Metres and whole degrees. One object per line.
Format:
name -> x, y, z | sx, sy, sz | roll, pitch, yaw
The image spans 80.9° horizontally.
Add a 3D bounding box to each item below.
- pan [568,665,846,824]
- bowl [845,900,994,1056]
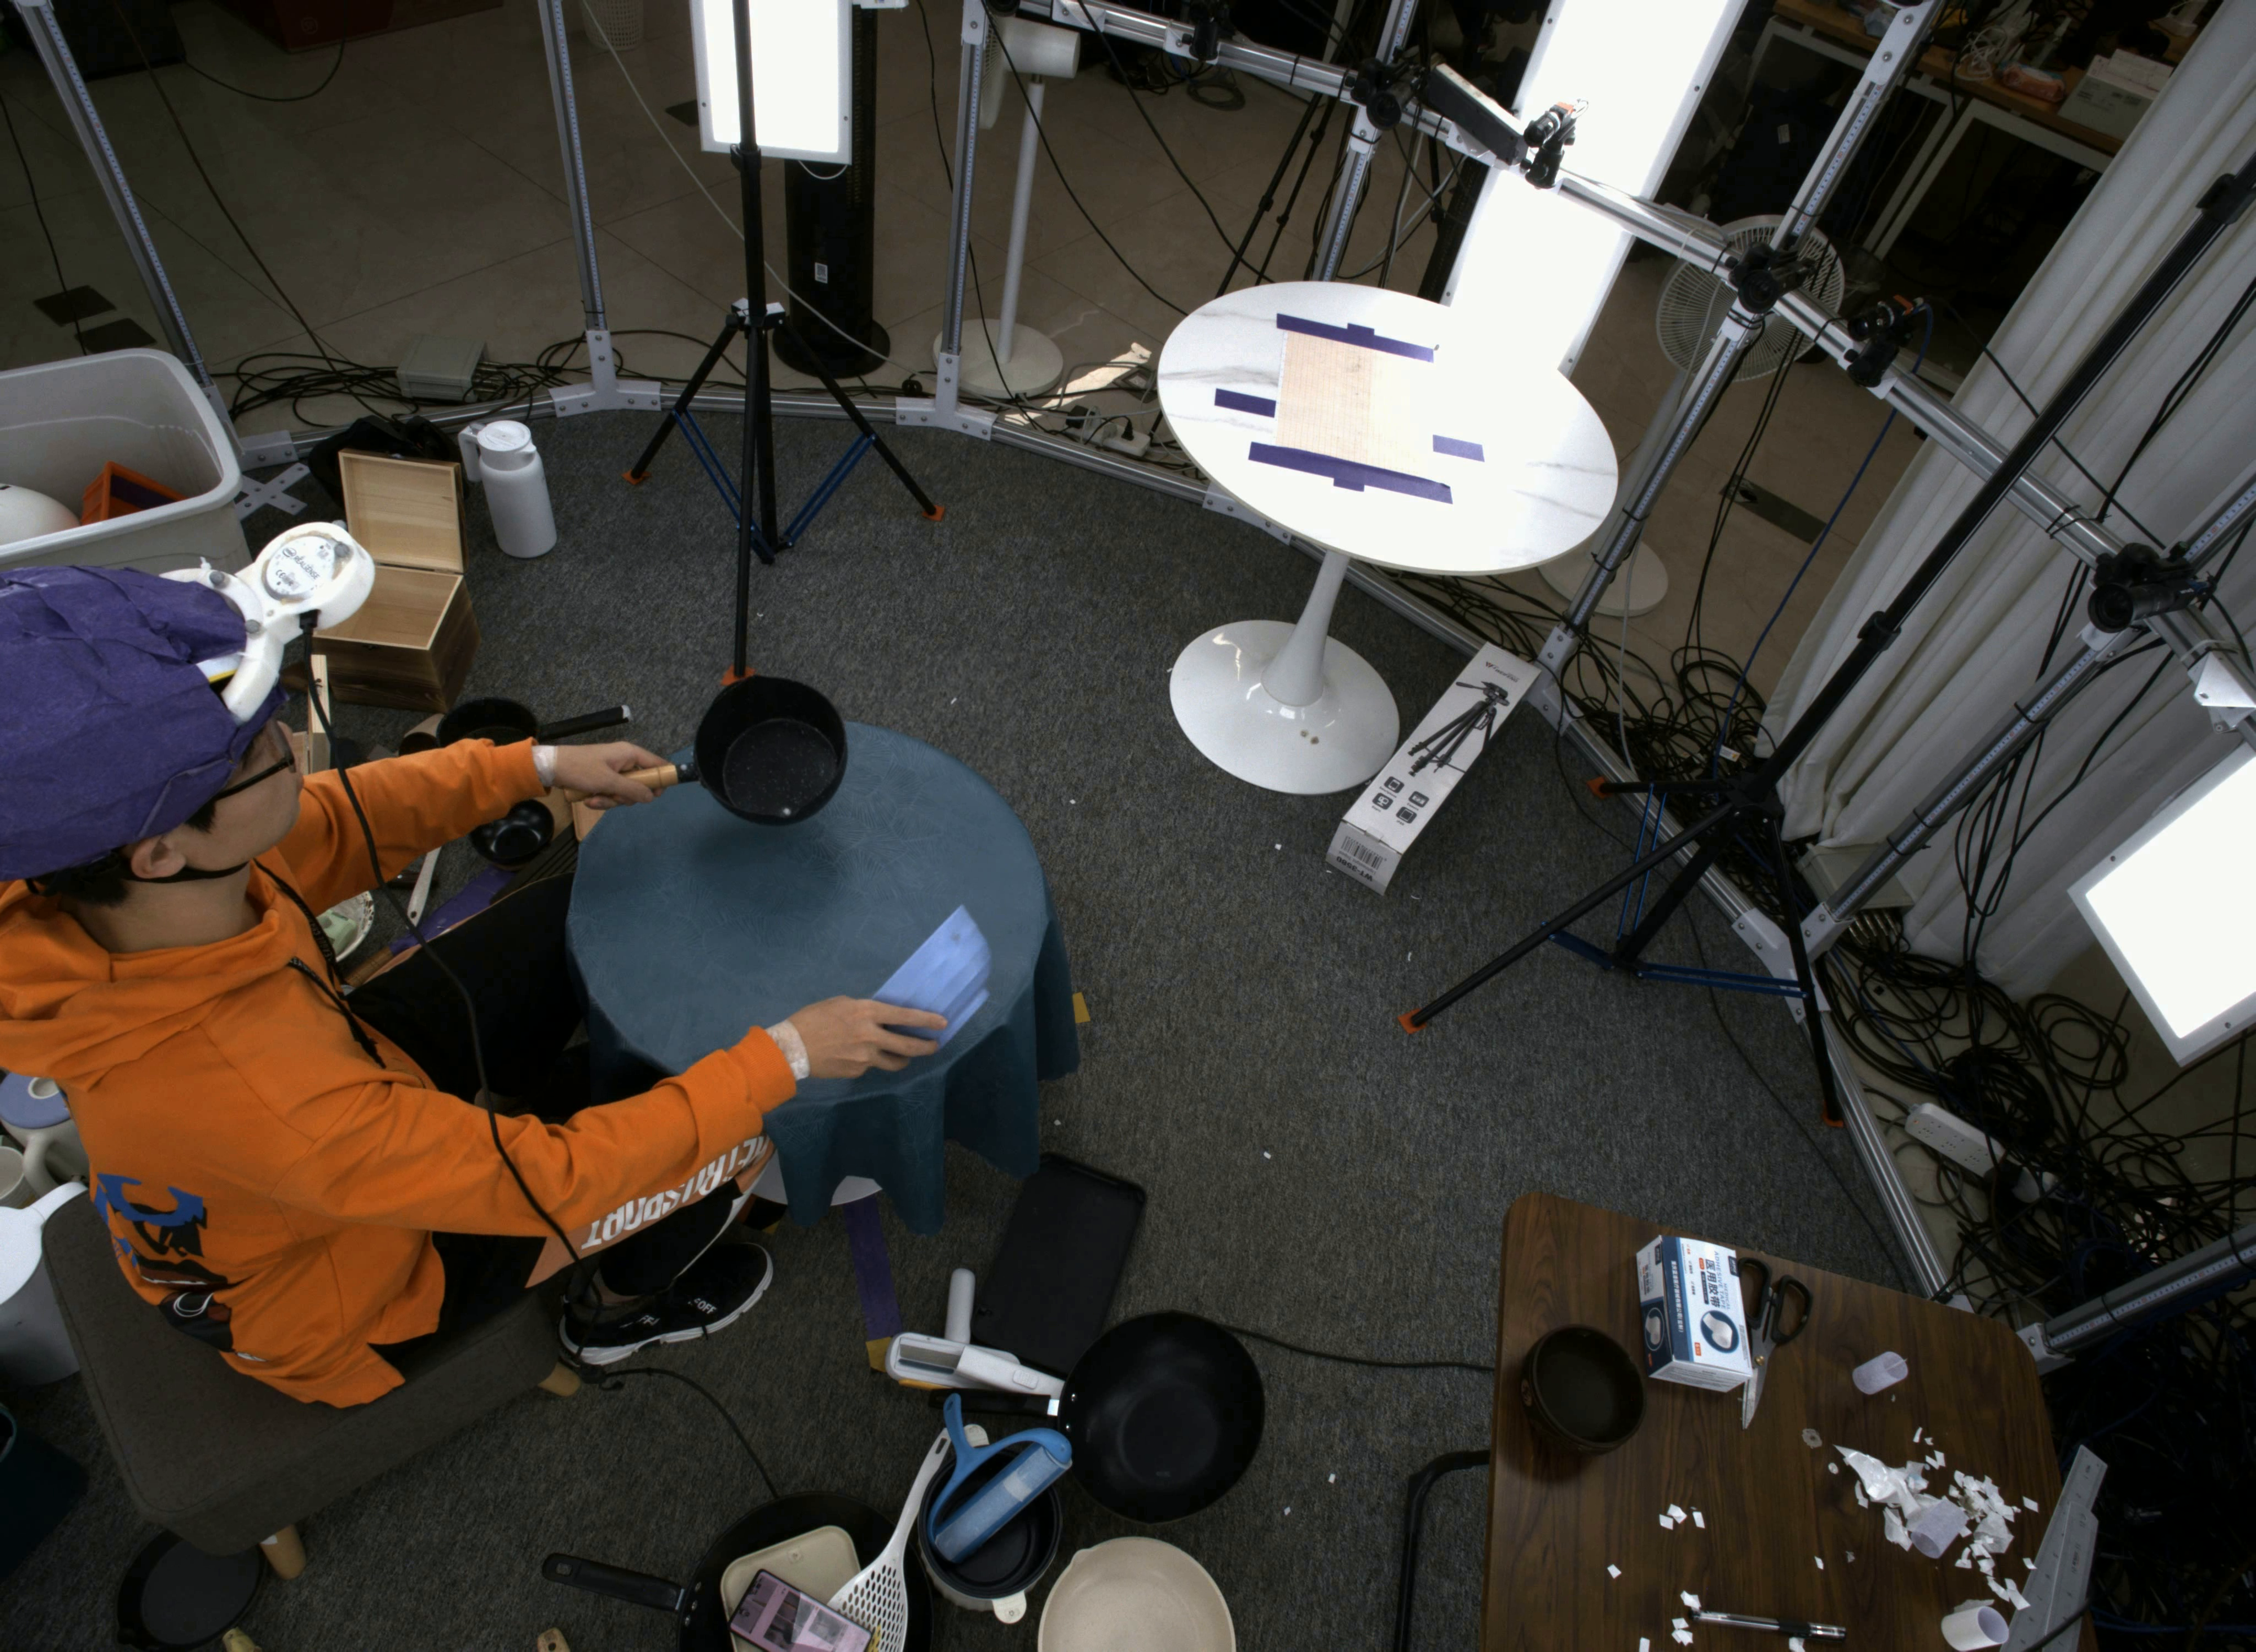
pan -> -0.513, -0.071, 1.572 | 0.342, 0.109, 0.205 | -17, 73, -15
bowl -> -0.217, 0.186, 1.462 | 0.096, 0.196, 0.196 | 43, 53, -2
